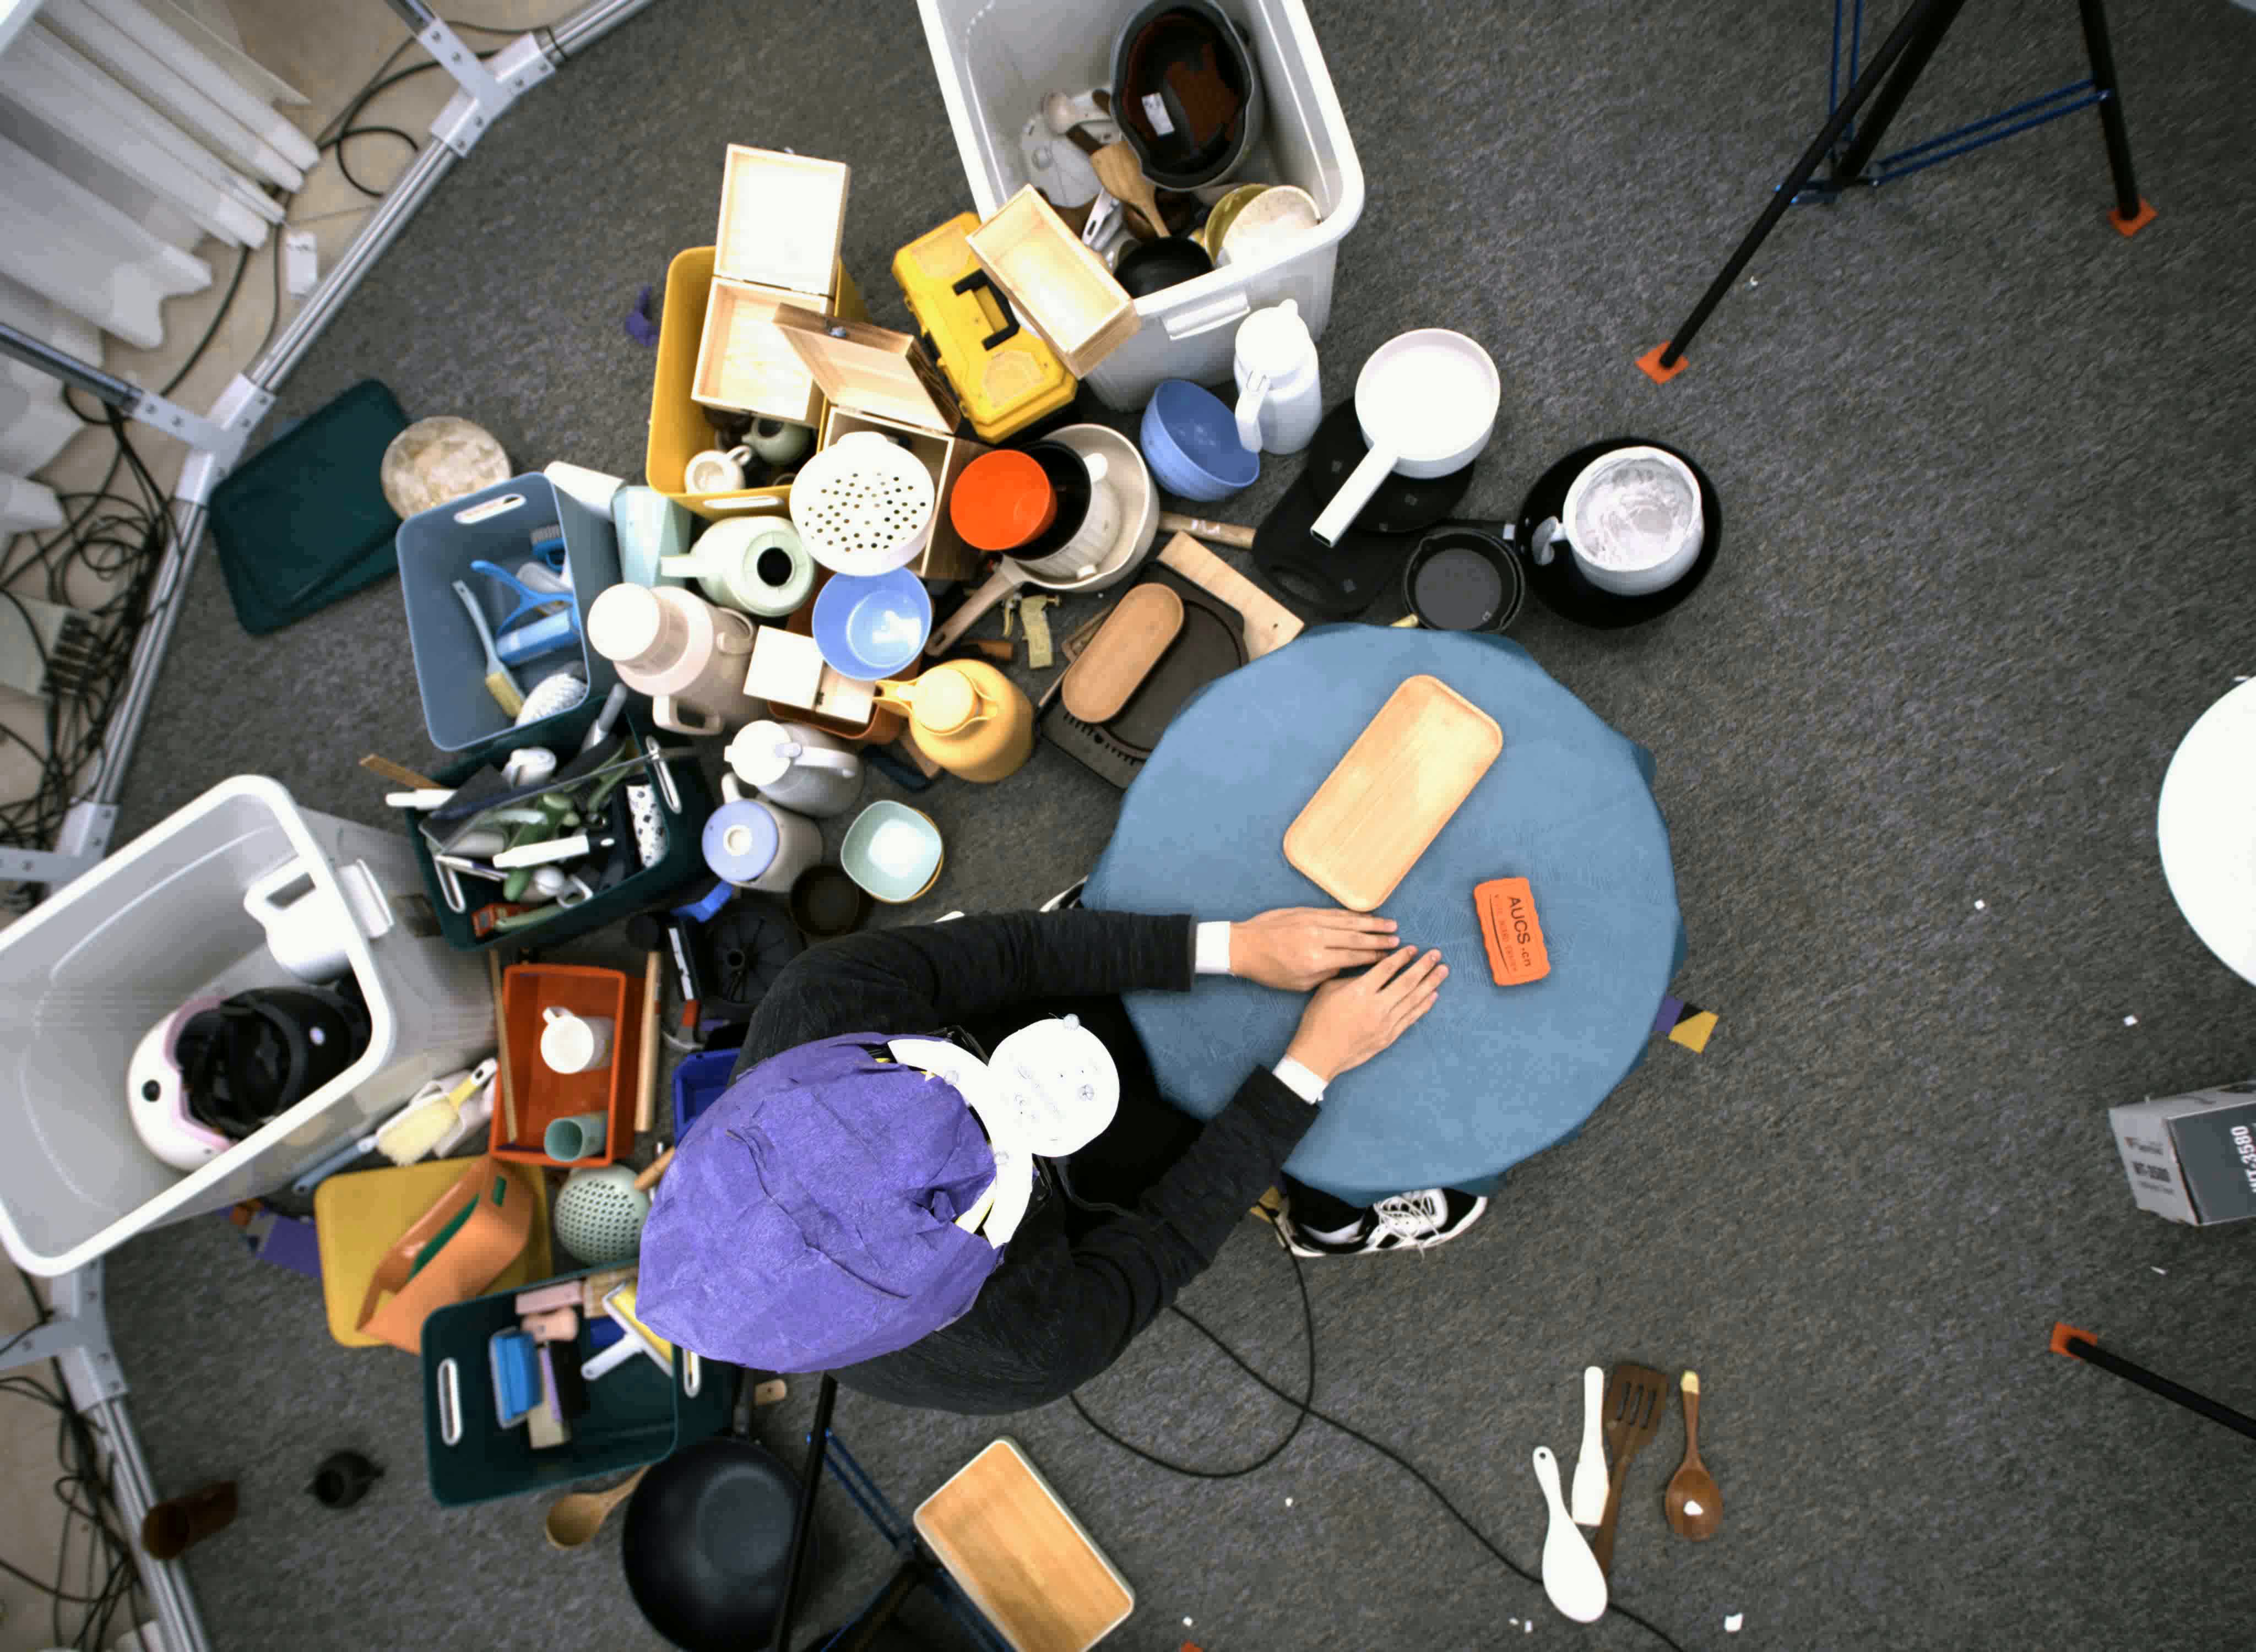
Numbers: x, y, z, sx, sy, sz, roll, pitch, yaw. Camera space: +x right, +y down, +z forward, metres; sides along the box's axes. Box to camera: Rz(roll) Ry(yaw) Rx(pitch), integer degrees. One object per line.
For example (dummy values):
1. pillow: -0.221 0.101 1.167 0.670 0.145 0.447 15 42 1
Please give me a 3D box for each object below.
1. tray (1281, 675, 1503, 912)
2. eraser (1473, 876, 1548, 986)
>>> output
1. tray: 0.279 -0.036 1.456 0.130 0.023 0.251 40 95 12
2. eraser: 0.395 0.106 1.422 0.059 0.023 0.107 -12 85 10
